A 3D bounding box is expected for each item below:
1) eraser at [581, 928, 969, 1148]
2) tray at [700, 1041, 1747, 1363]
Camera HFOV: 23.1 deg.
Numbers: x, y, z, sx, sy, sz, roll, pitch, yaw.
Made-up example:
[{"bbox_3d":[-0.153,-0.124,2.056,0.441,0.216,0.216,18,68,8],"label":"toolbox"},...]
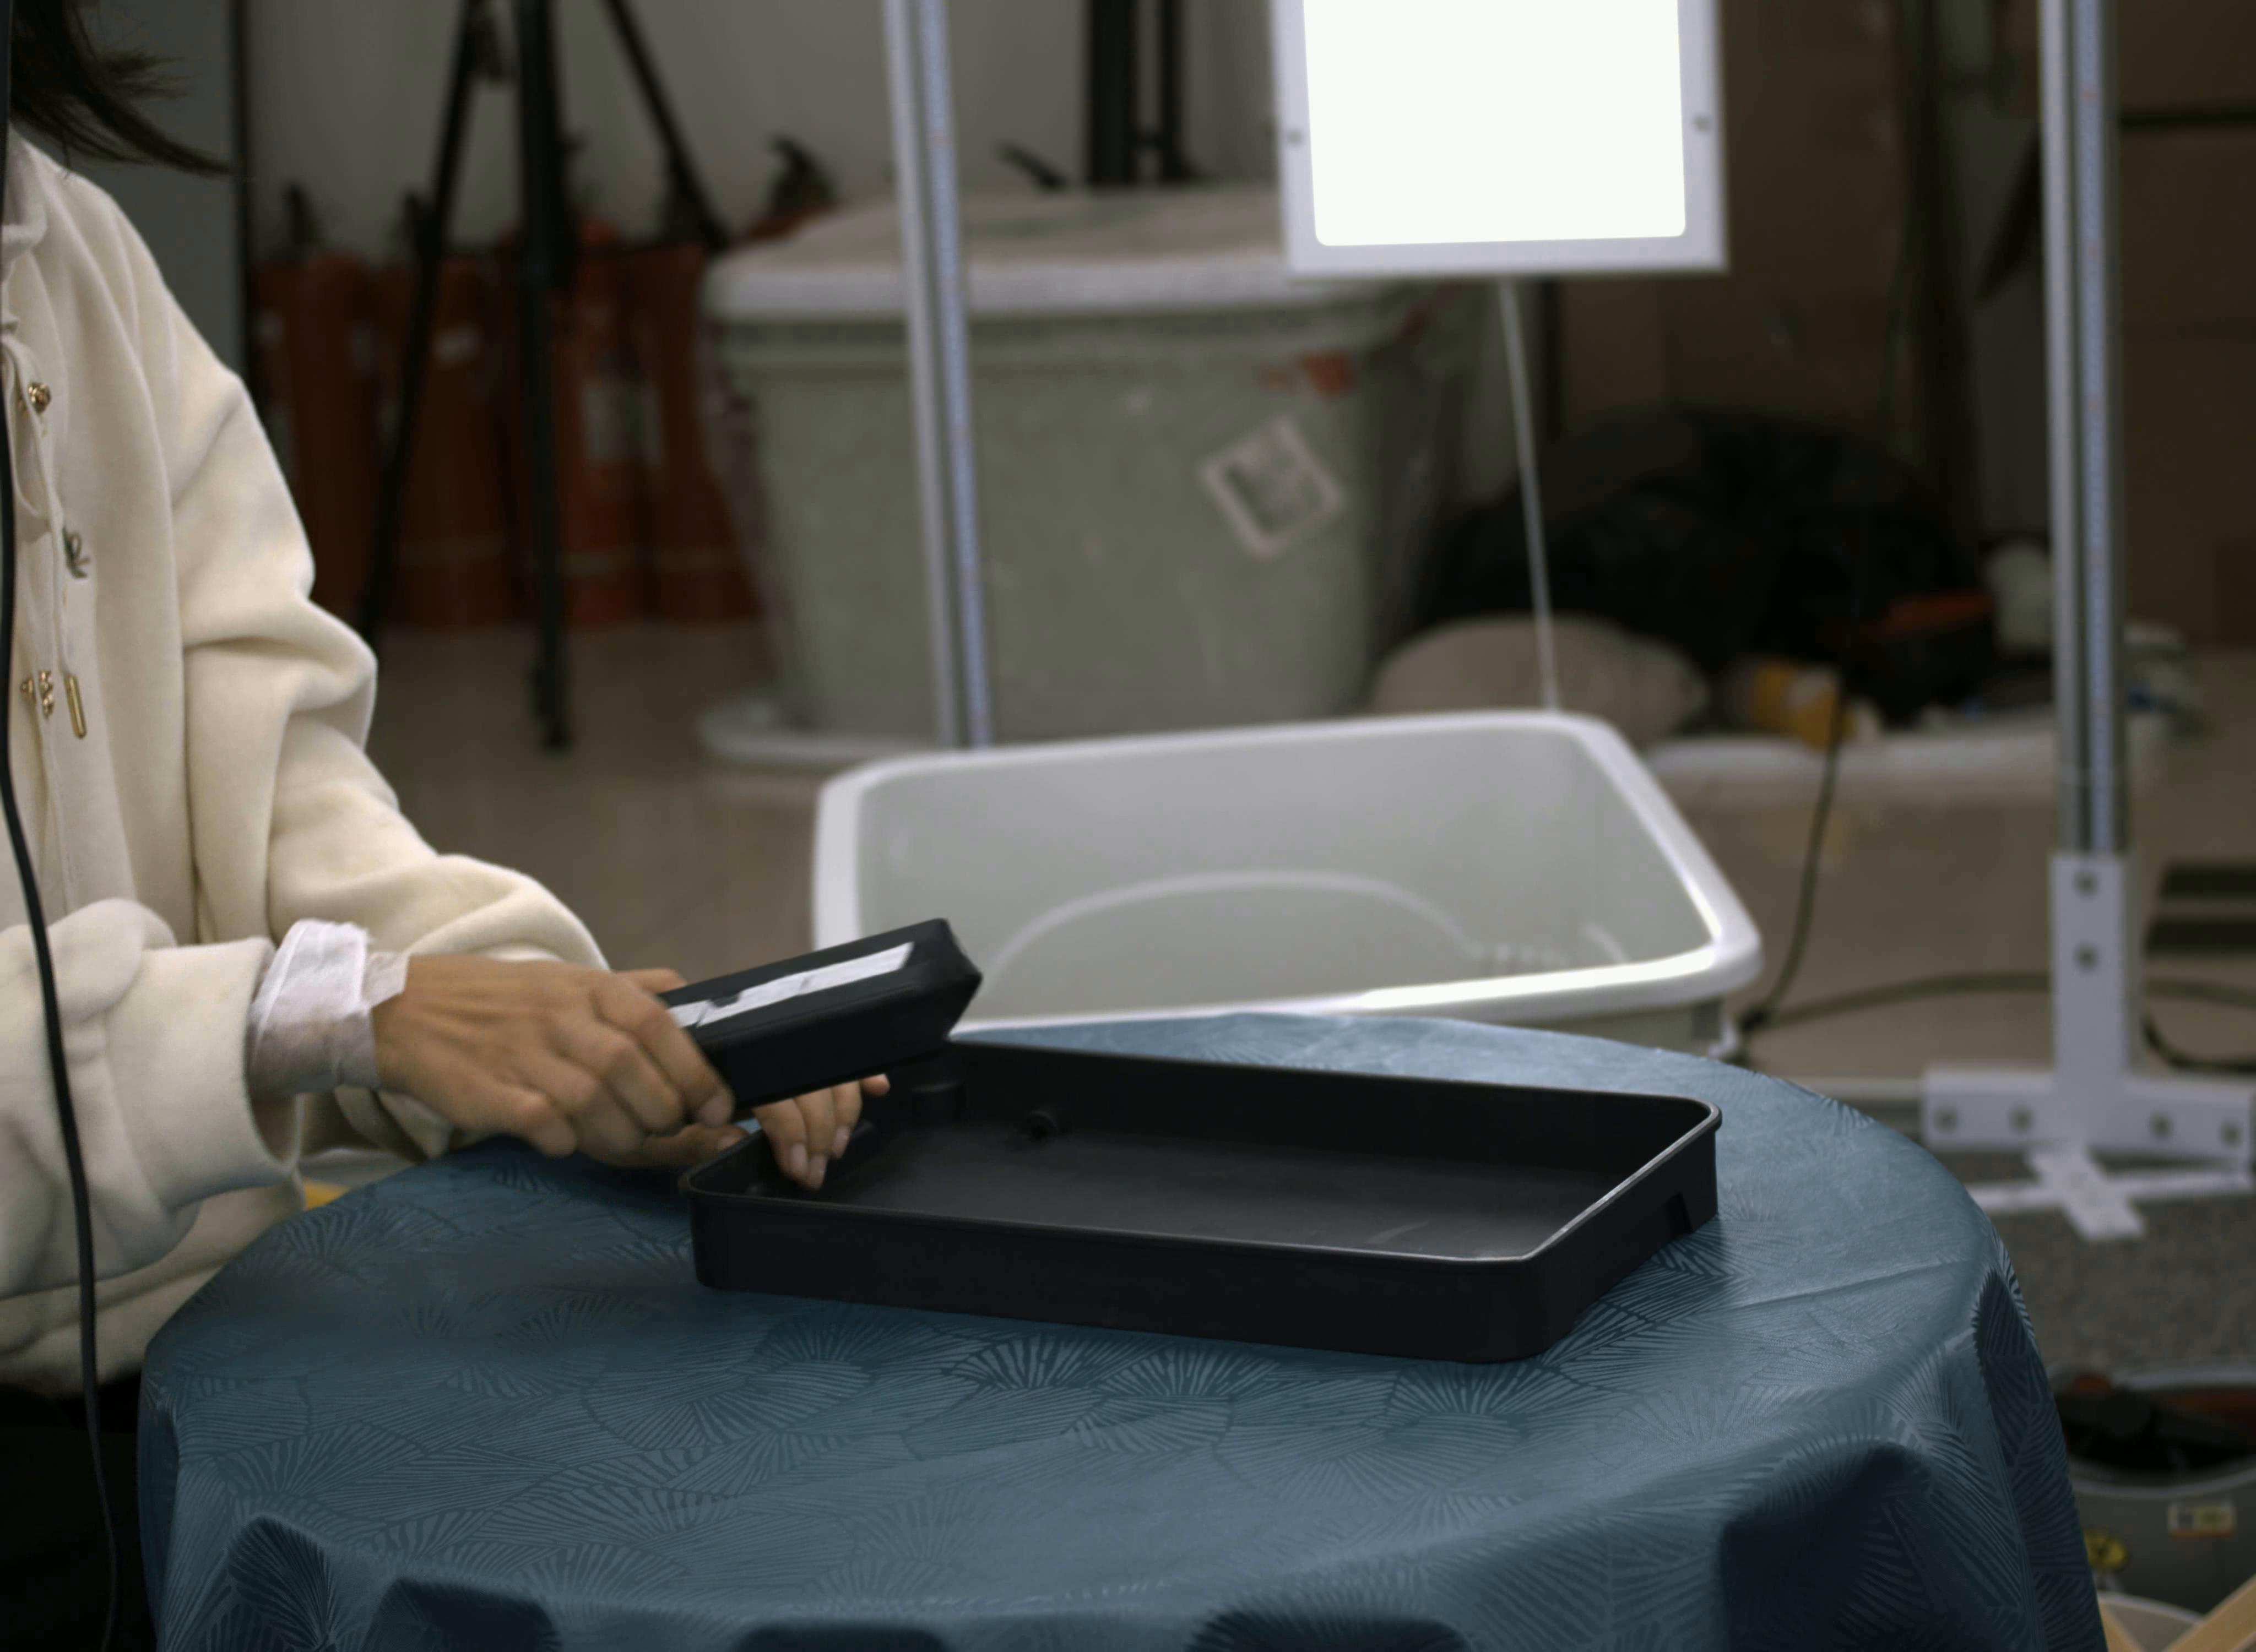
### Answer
[{"bbox_3d":[-0.115,0.069,1.811,0.127,0.030,0.053,-16,21,21],"label":"eraser"},{"bbox_3d":[0.033,0.121,1.828,0.323,0.037,0.180,2,15,27],"label":"tray"}]
